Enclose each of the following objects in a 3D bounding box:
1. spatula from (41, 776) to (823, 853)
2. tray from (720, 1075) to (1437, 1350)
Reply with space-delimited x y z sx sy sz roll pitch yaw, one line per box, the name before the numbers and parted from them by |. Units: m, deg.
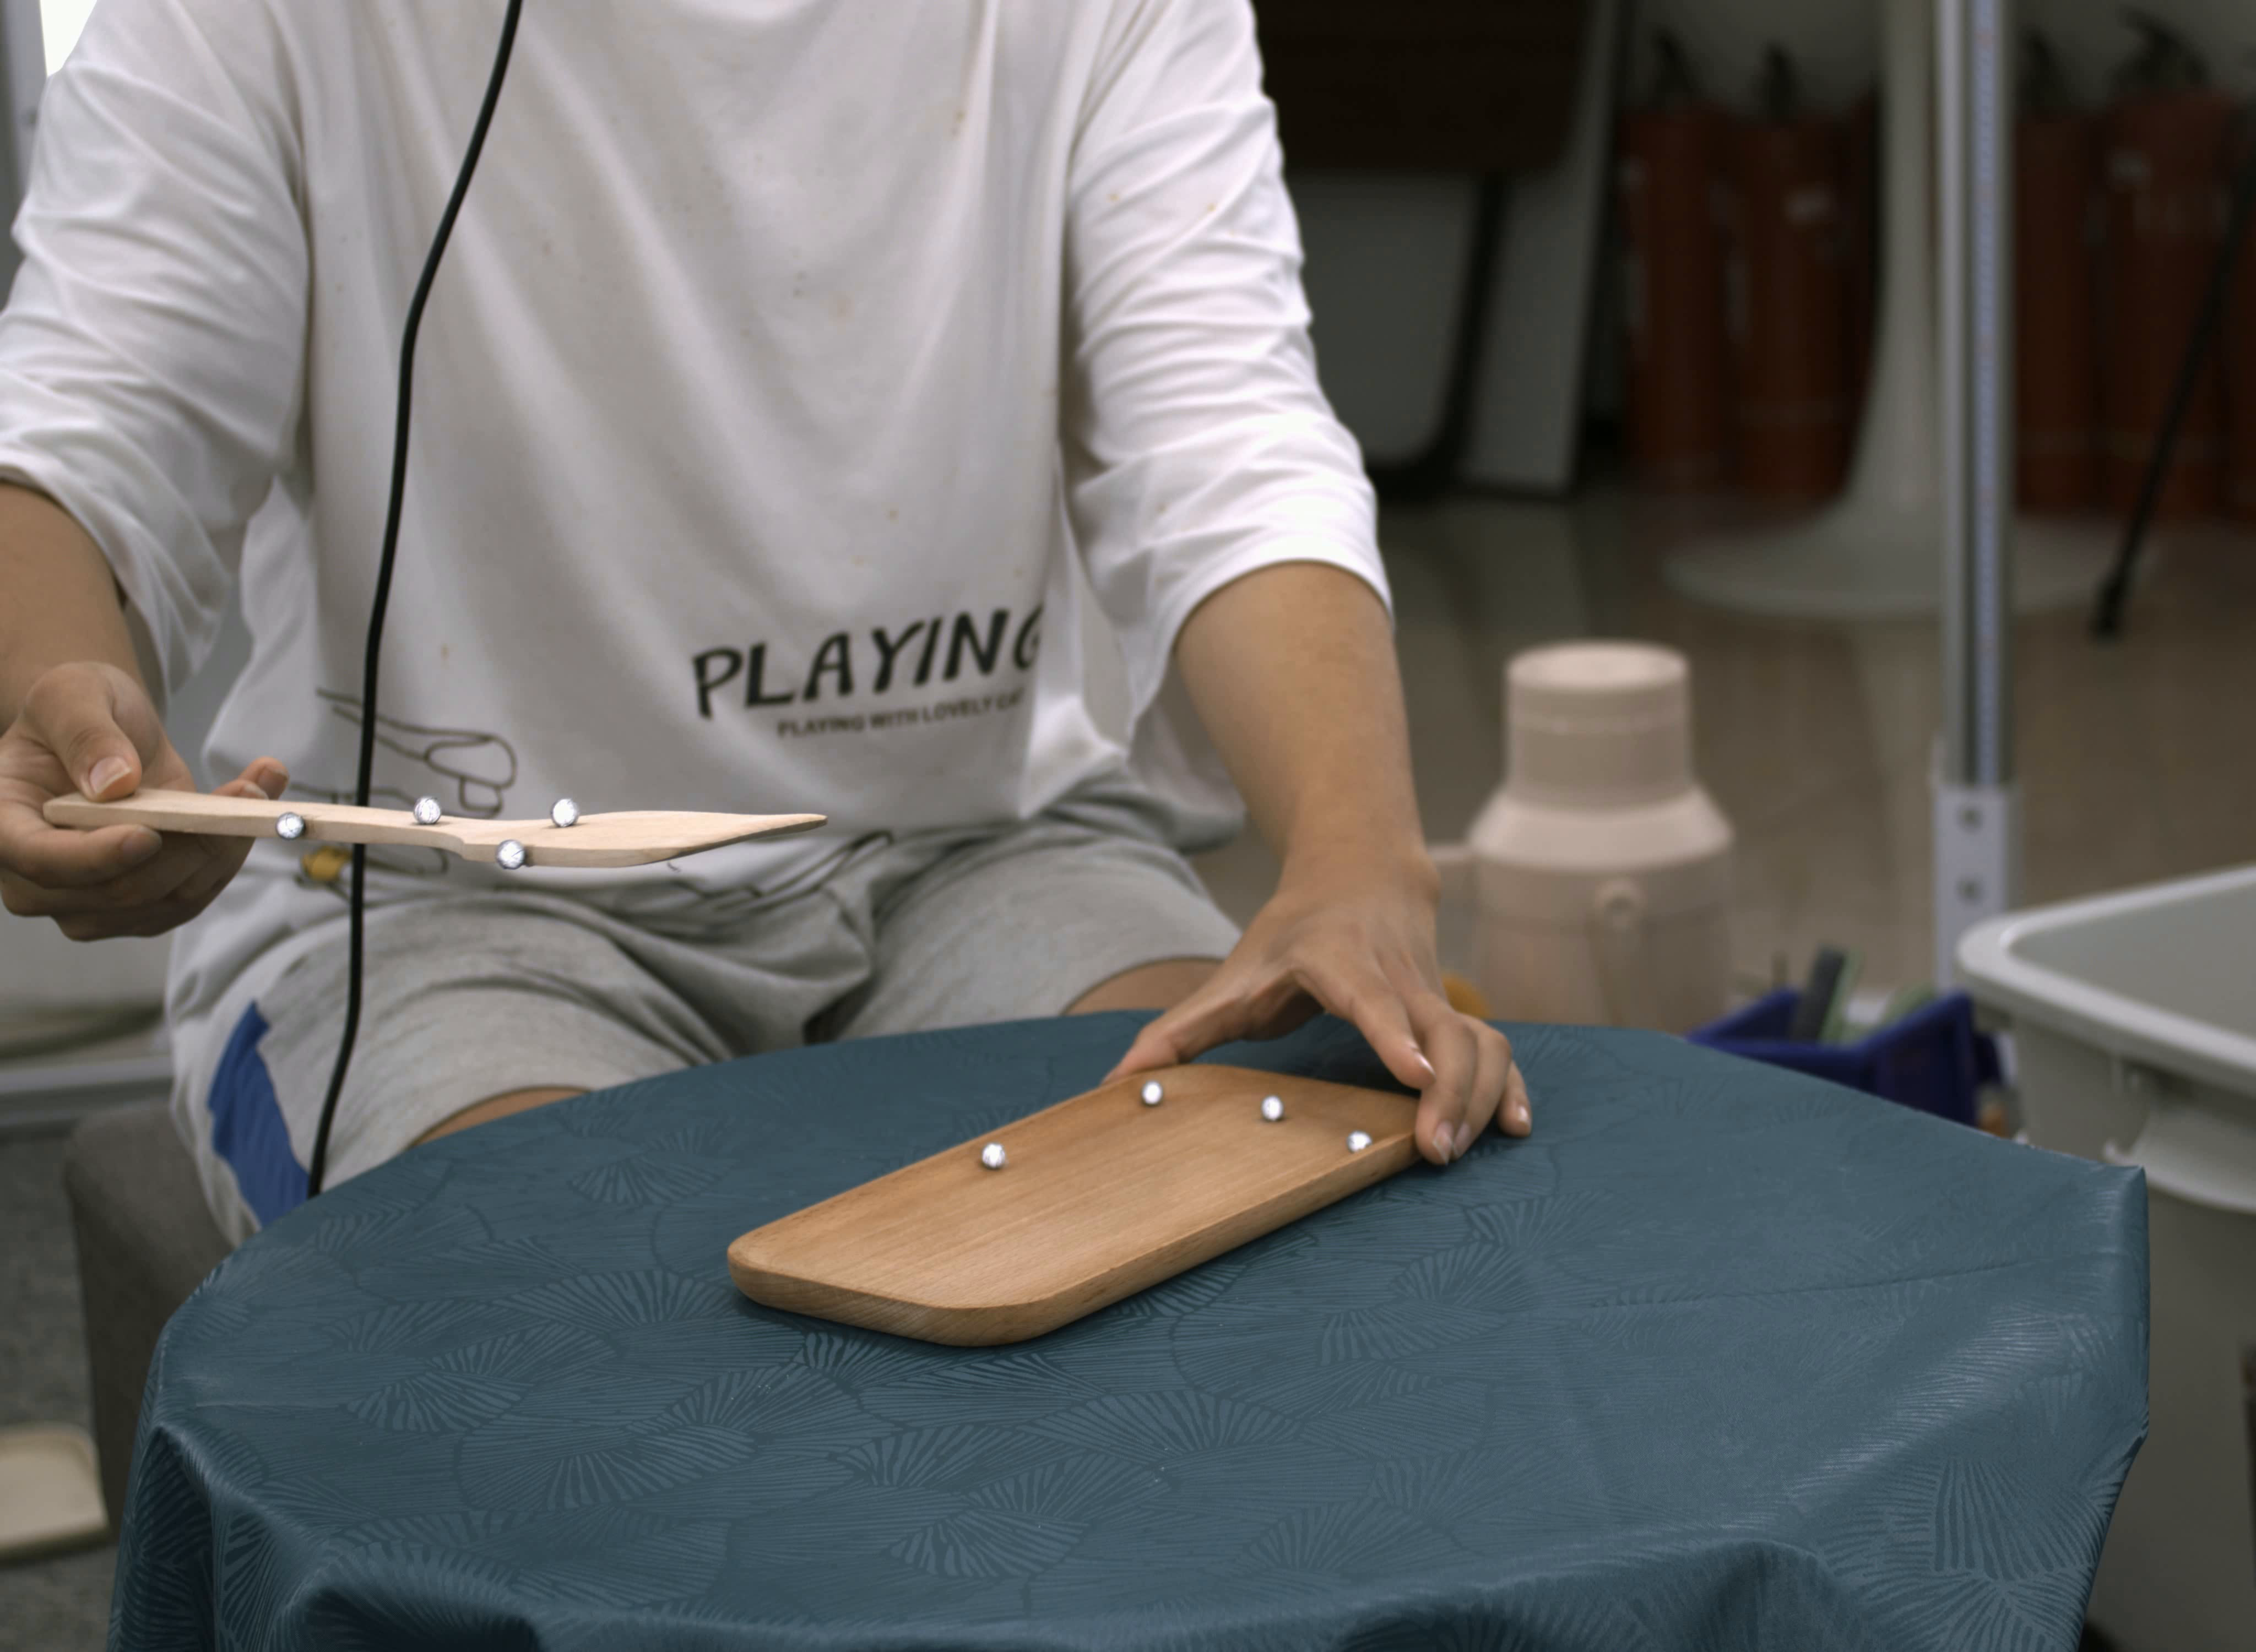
spatula | -0.220 -0.004 1.613 0.295 0.011 0.071 3 10 39
tray | -0.012 0.123 1.743 0.131 0.023 0.246 4 16 41
